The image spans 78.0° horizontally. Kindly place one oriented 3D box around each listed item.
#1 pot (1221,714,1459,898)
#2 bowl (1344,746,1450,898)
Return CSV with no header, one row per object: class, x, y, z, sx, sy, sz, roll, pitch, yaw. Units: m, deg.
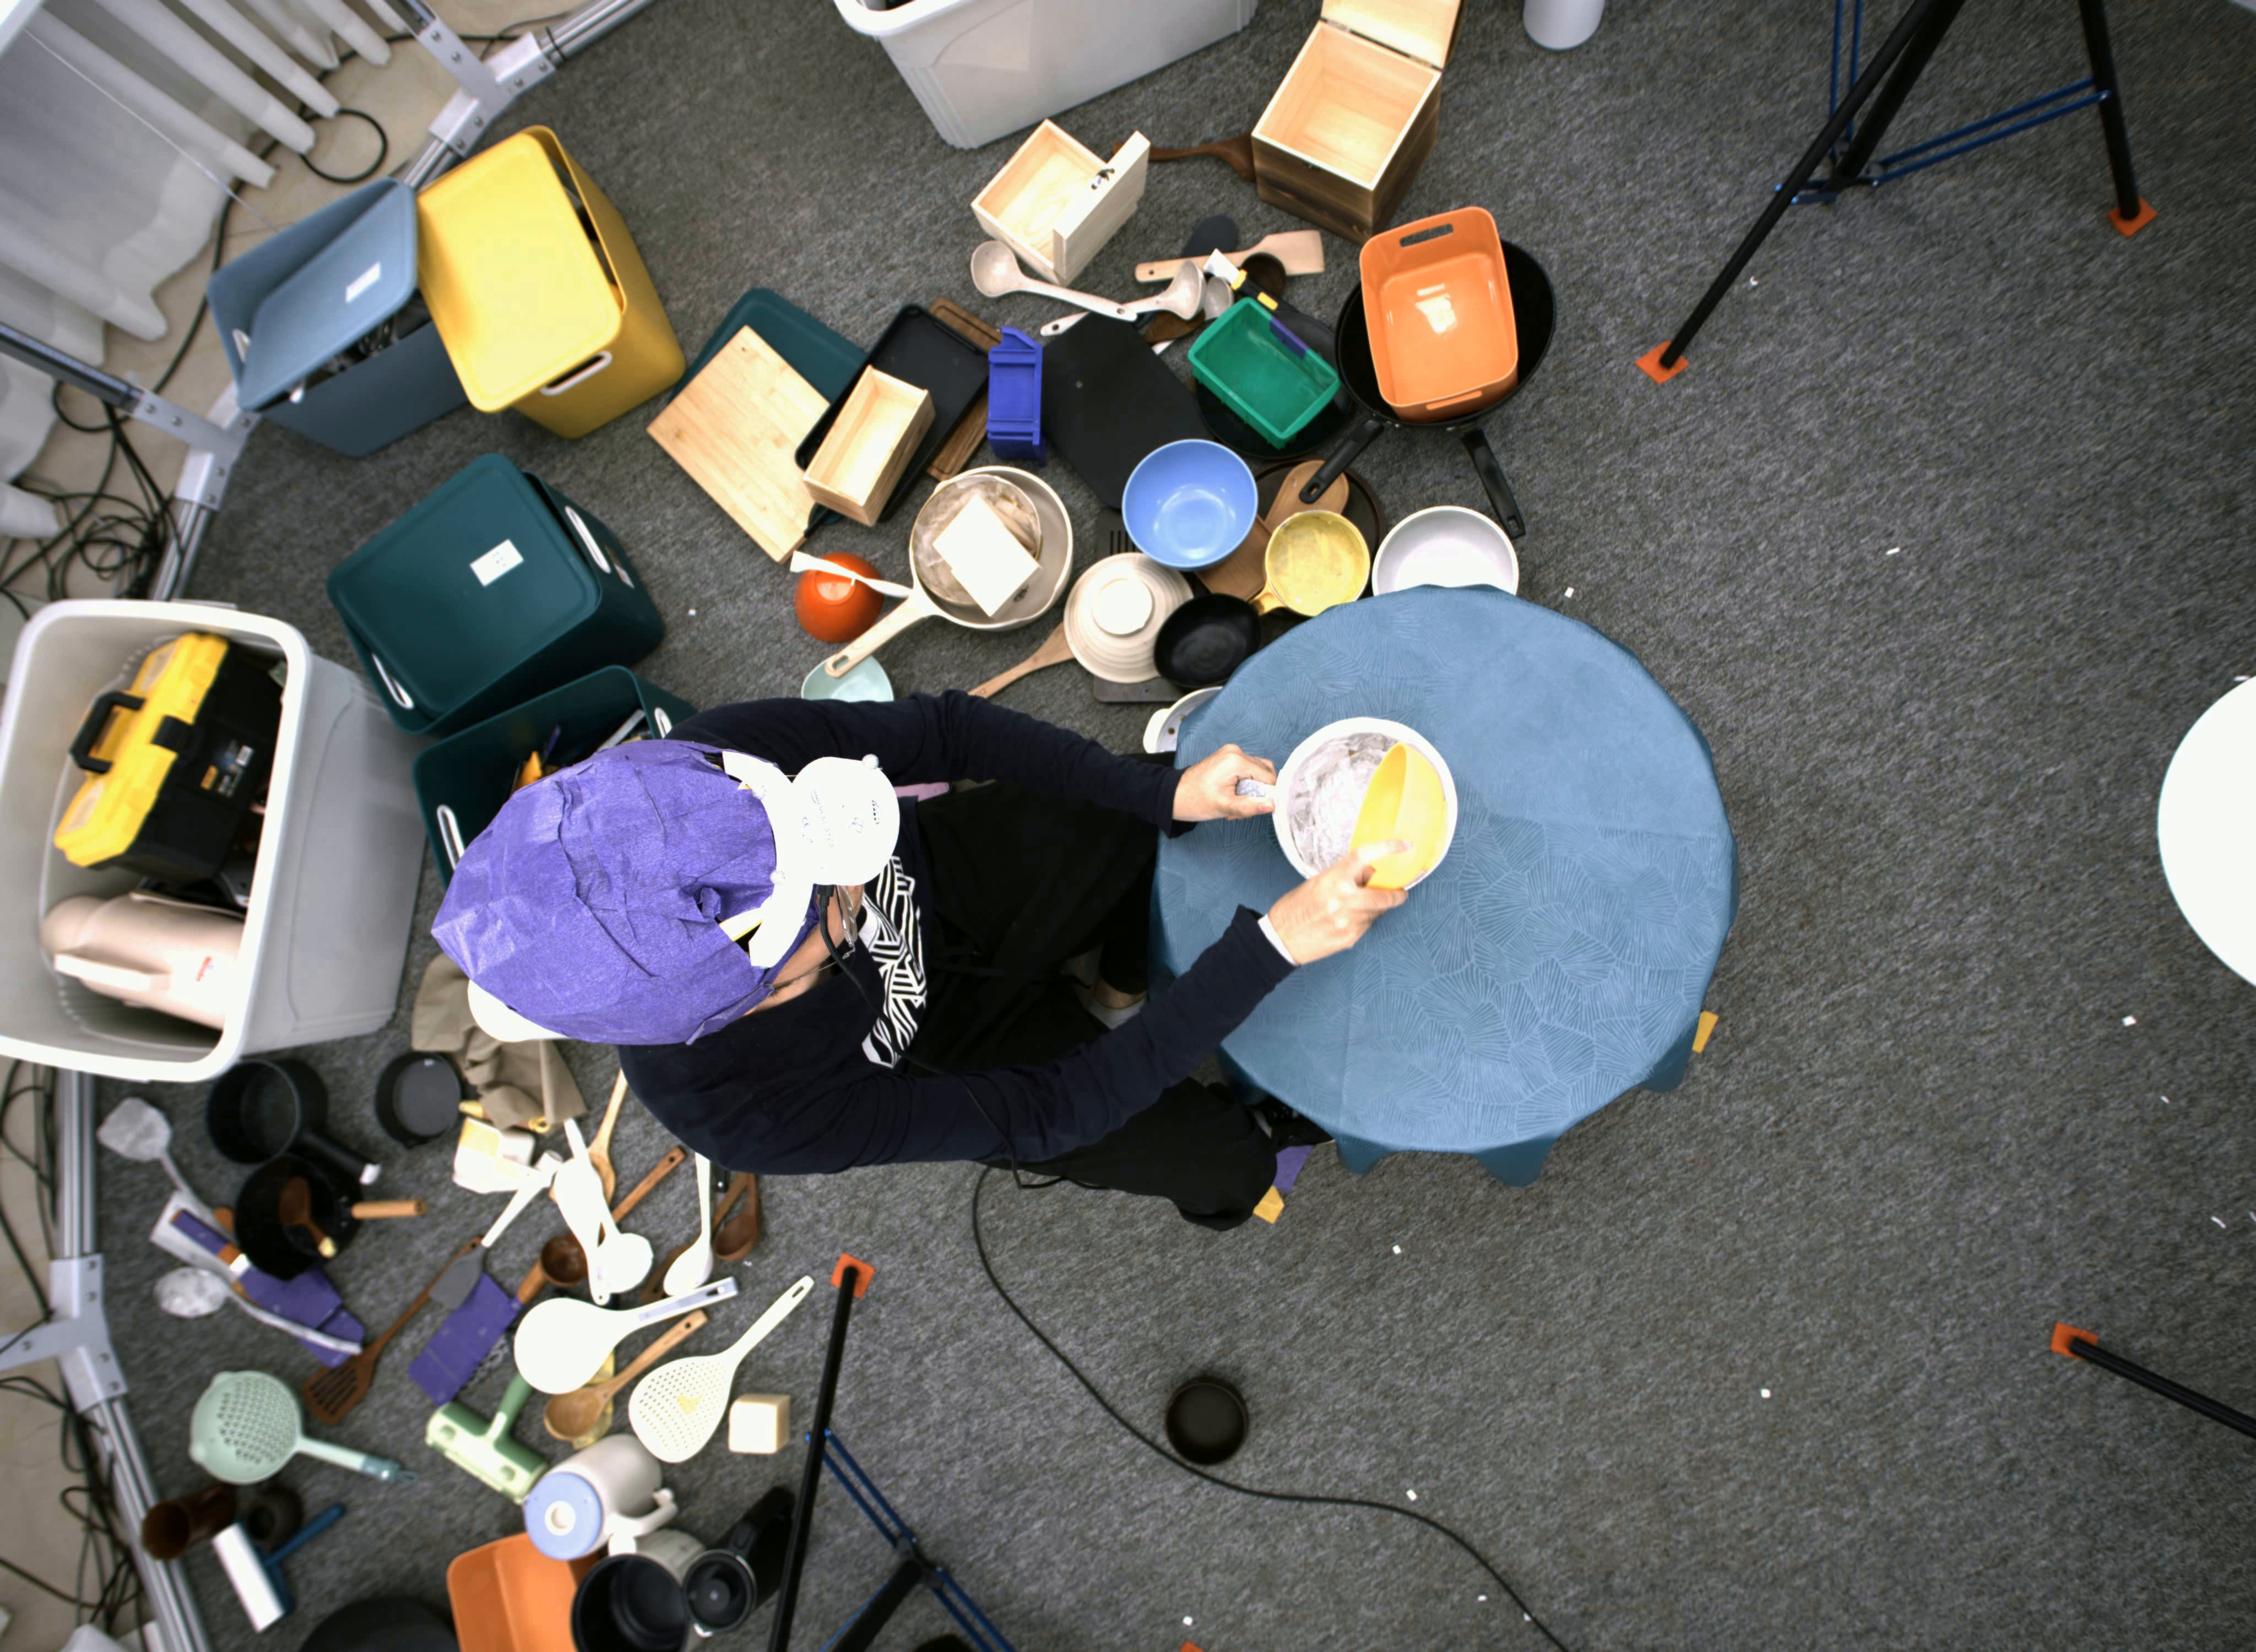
pot,0.209,-0.020,1.399,0.234,0.136,0.178,7,88,7
bowl,0.250,0.003,1.246,0.060,0.145,0.145,18,88,-5
